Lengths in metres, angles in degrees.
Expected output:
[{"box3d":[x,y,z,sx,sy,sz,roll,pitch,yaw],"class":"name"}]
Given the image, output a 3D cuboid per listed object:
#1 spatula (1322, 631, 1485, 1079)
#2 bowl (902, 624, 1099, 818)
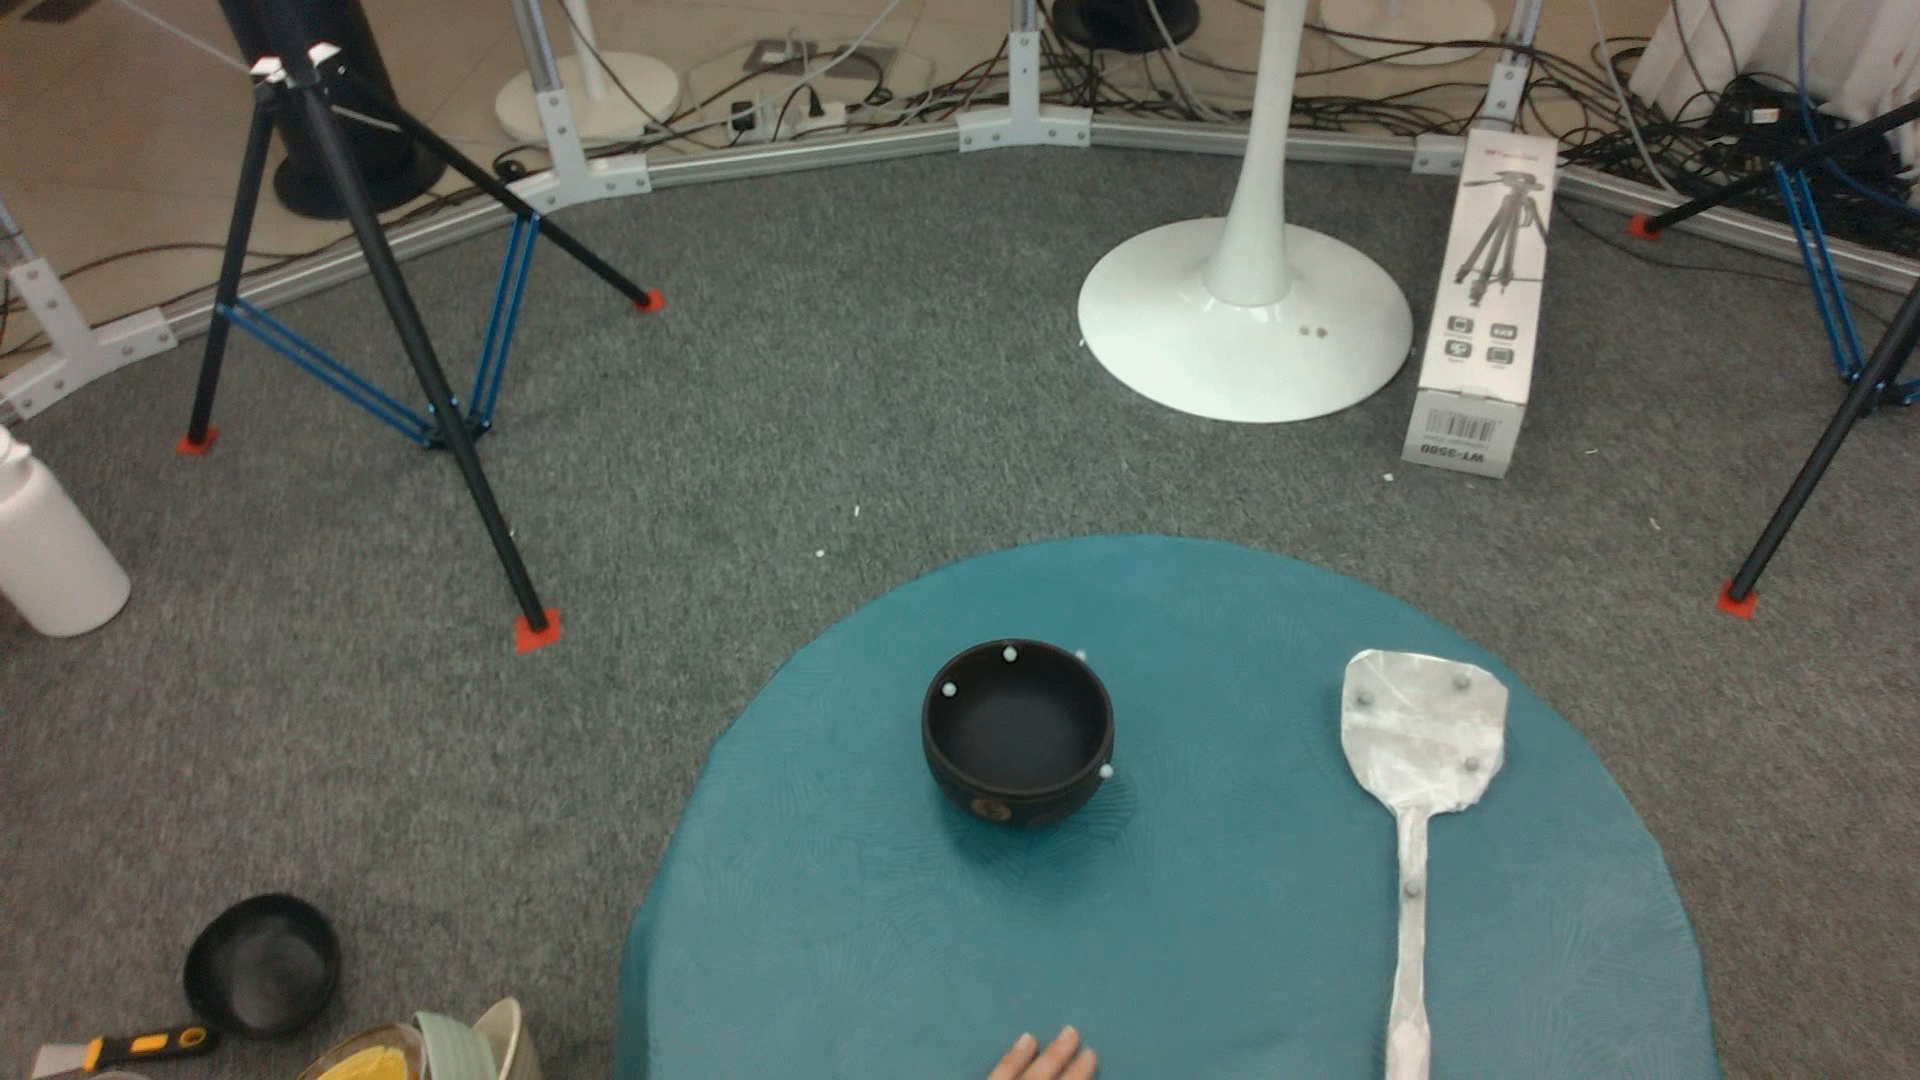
[{"box3d":[0.239,0.206,0.777,0.098,0.044,0.367,13,49,9],"class":"spatula"},{"box3d":[0.025,0.117,0.837,0.118,0.069,0.118,-1,48,2],"class":"bowl"}]
